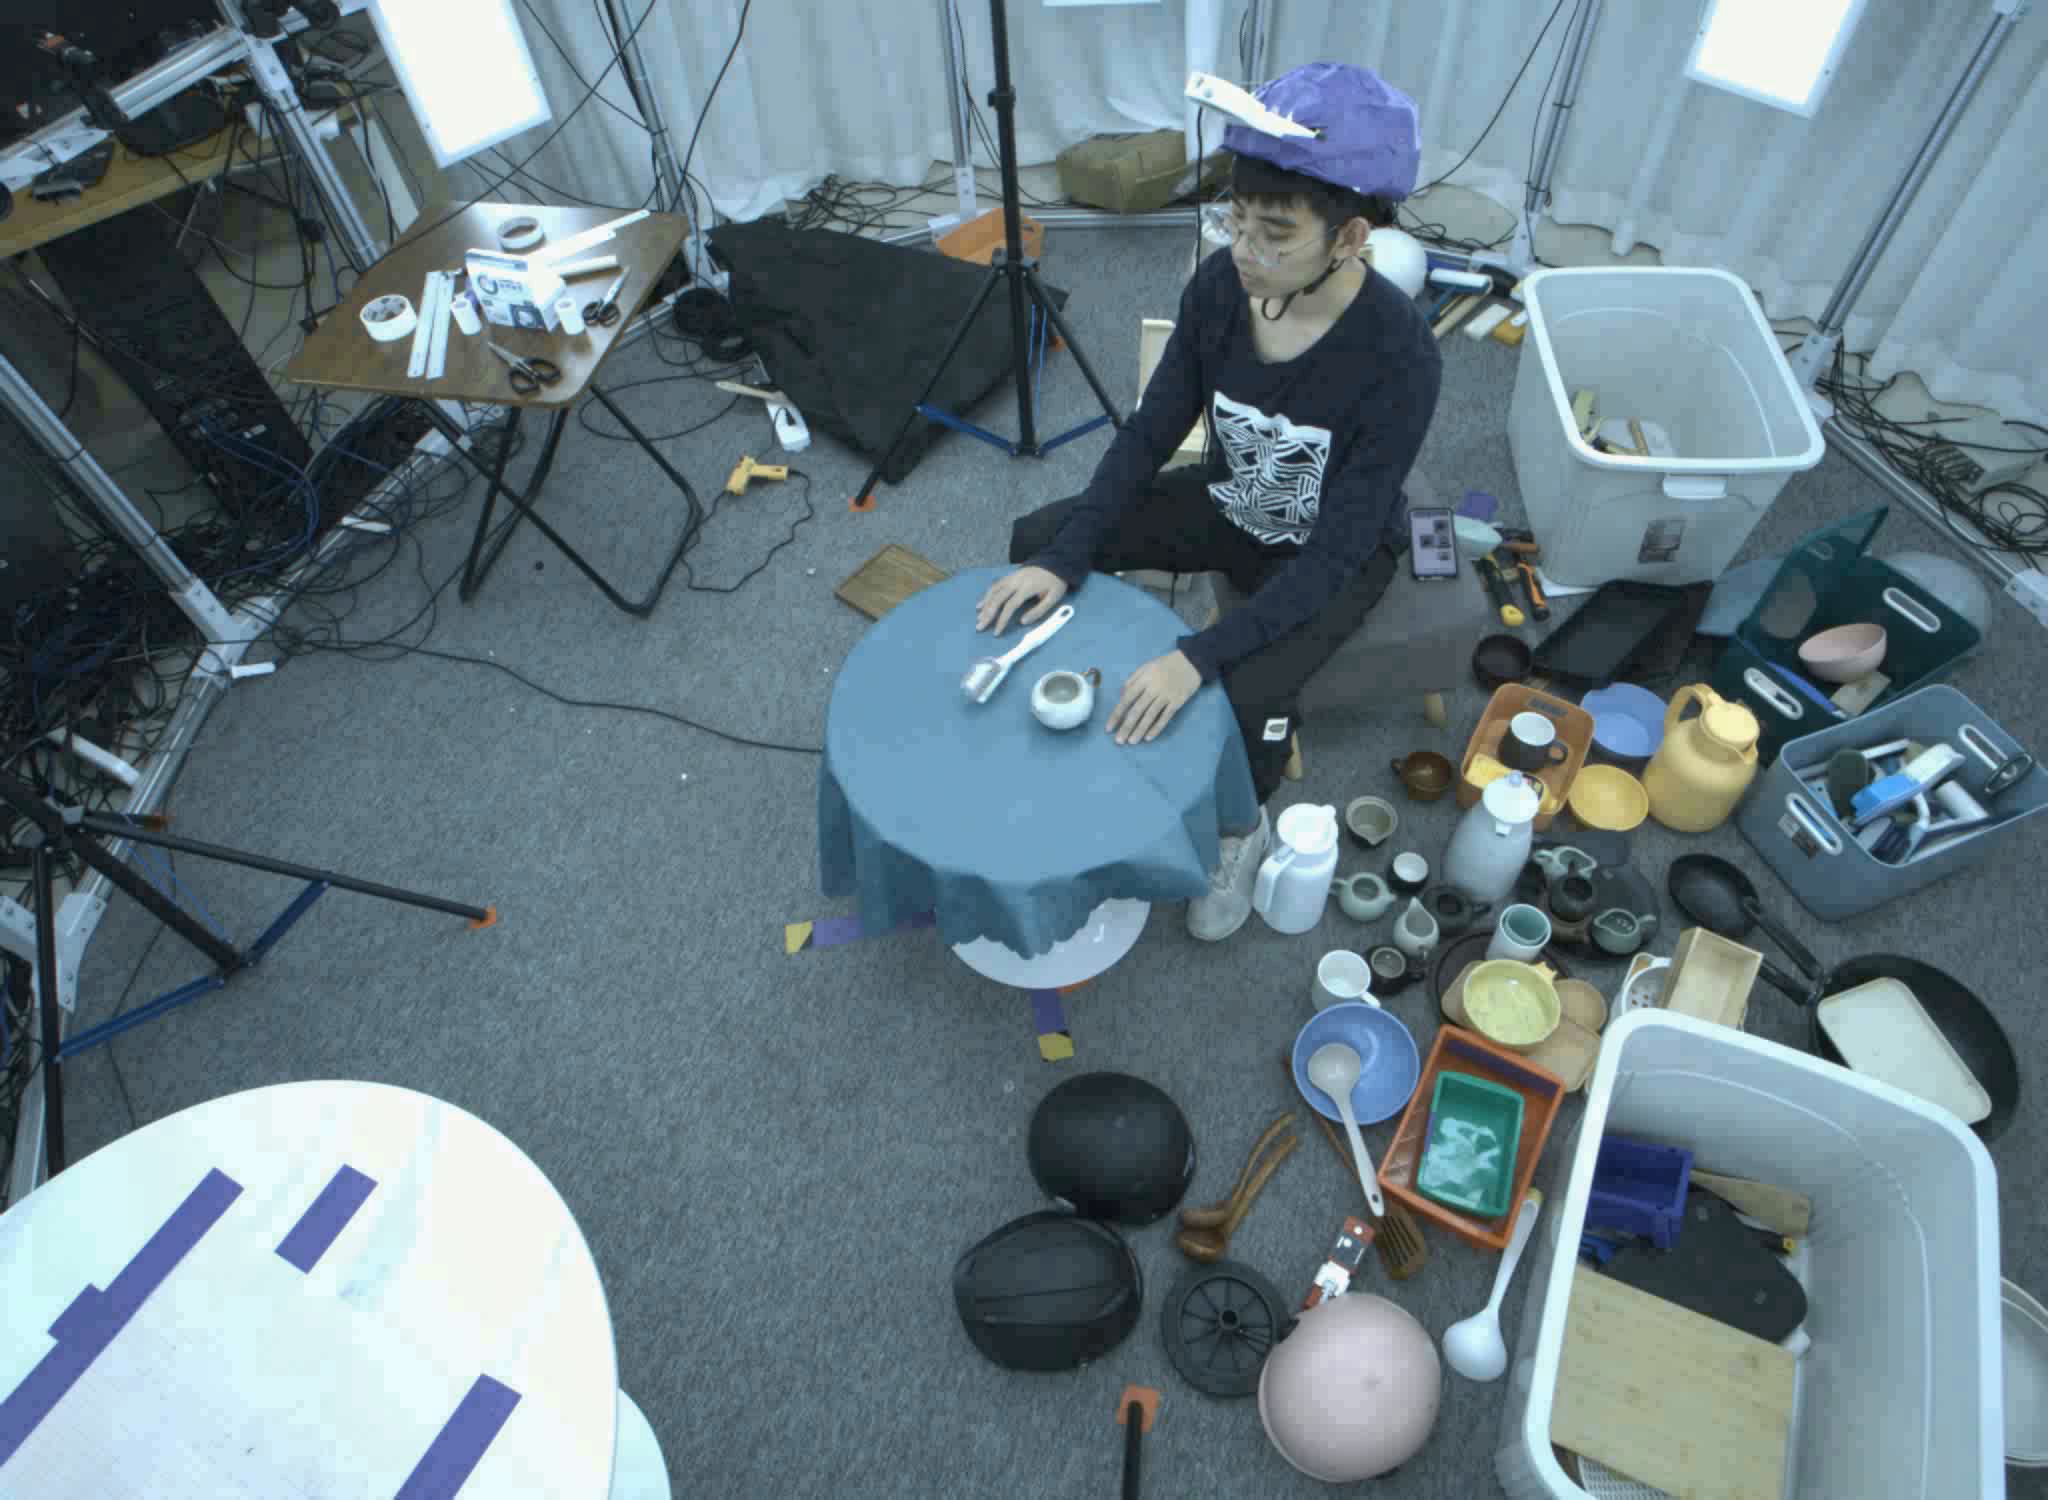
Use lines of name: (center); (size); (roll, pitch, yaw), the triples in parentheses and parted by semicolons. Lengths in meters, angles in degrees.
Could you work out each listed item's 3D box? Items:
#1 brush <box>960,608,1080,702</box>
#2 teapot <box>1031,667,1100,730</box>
brush: (-0.003, -0.157, 1.863); (0.034, 0.051, 0.245); (34, 63, 30)
teapot: (0.063, -0.077, 1.798); (0.129, 0.060, 0.090); (-37, 59, -21)
